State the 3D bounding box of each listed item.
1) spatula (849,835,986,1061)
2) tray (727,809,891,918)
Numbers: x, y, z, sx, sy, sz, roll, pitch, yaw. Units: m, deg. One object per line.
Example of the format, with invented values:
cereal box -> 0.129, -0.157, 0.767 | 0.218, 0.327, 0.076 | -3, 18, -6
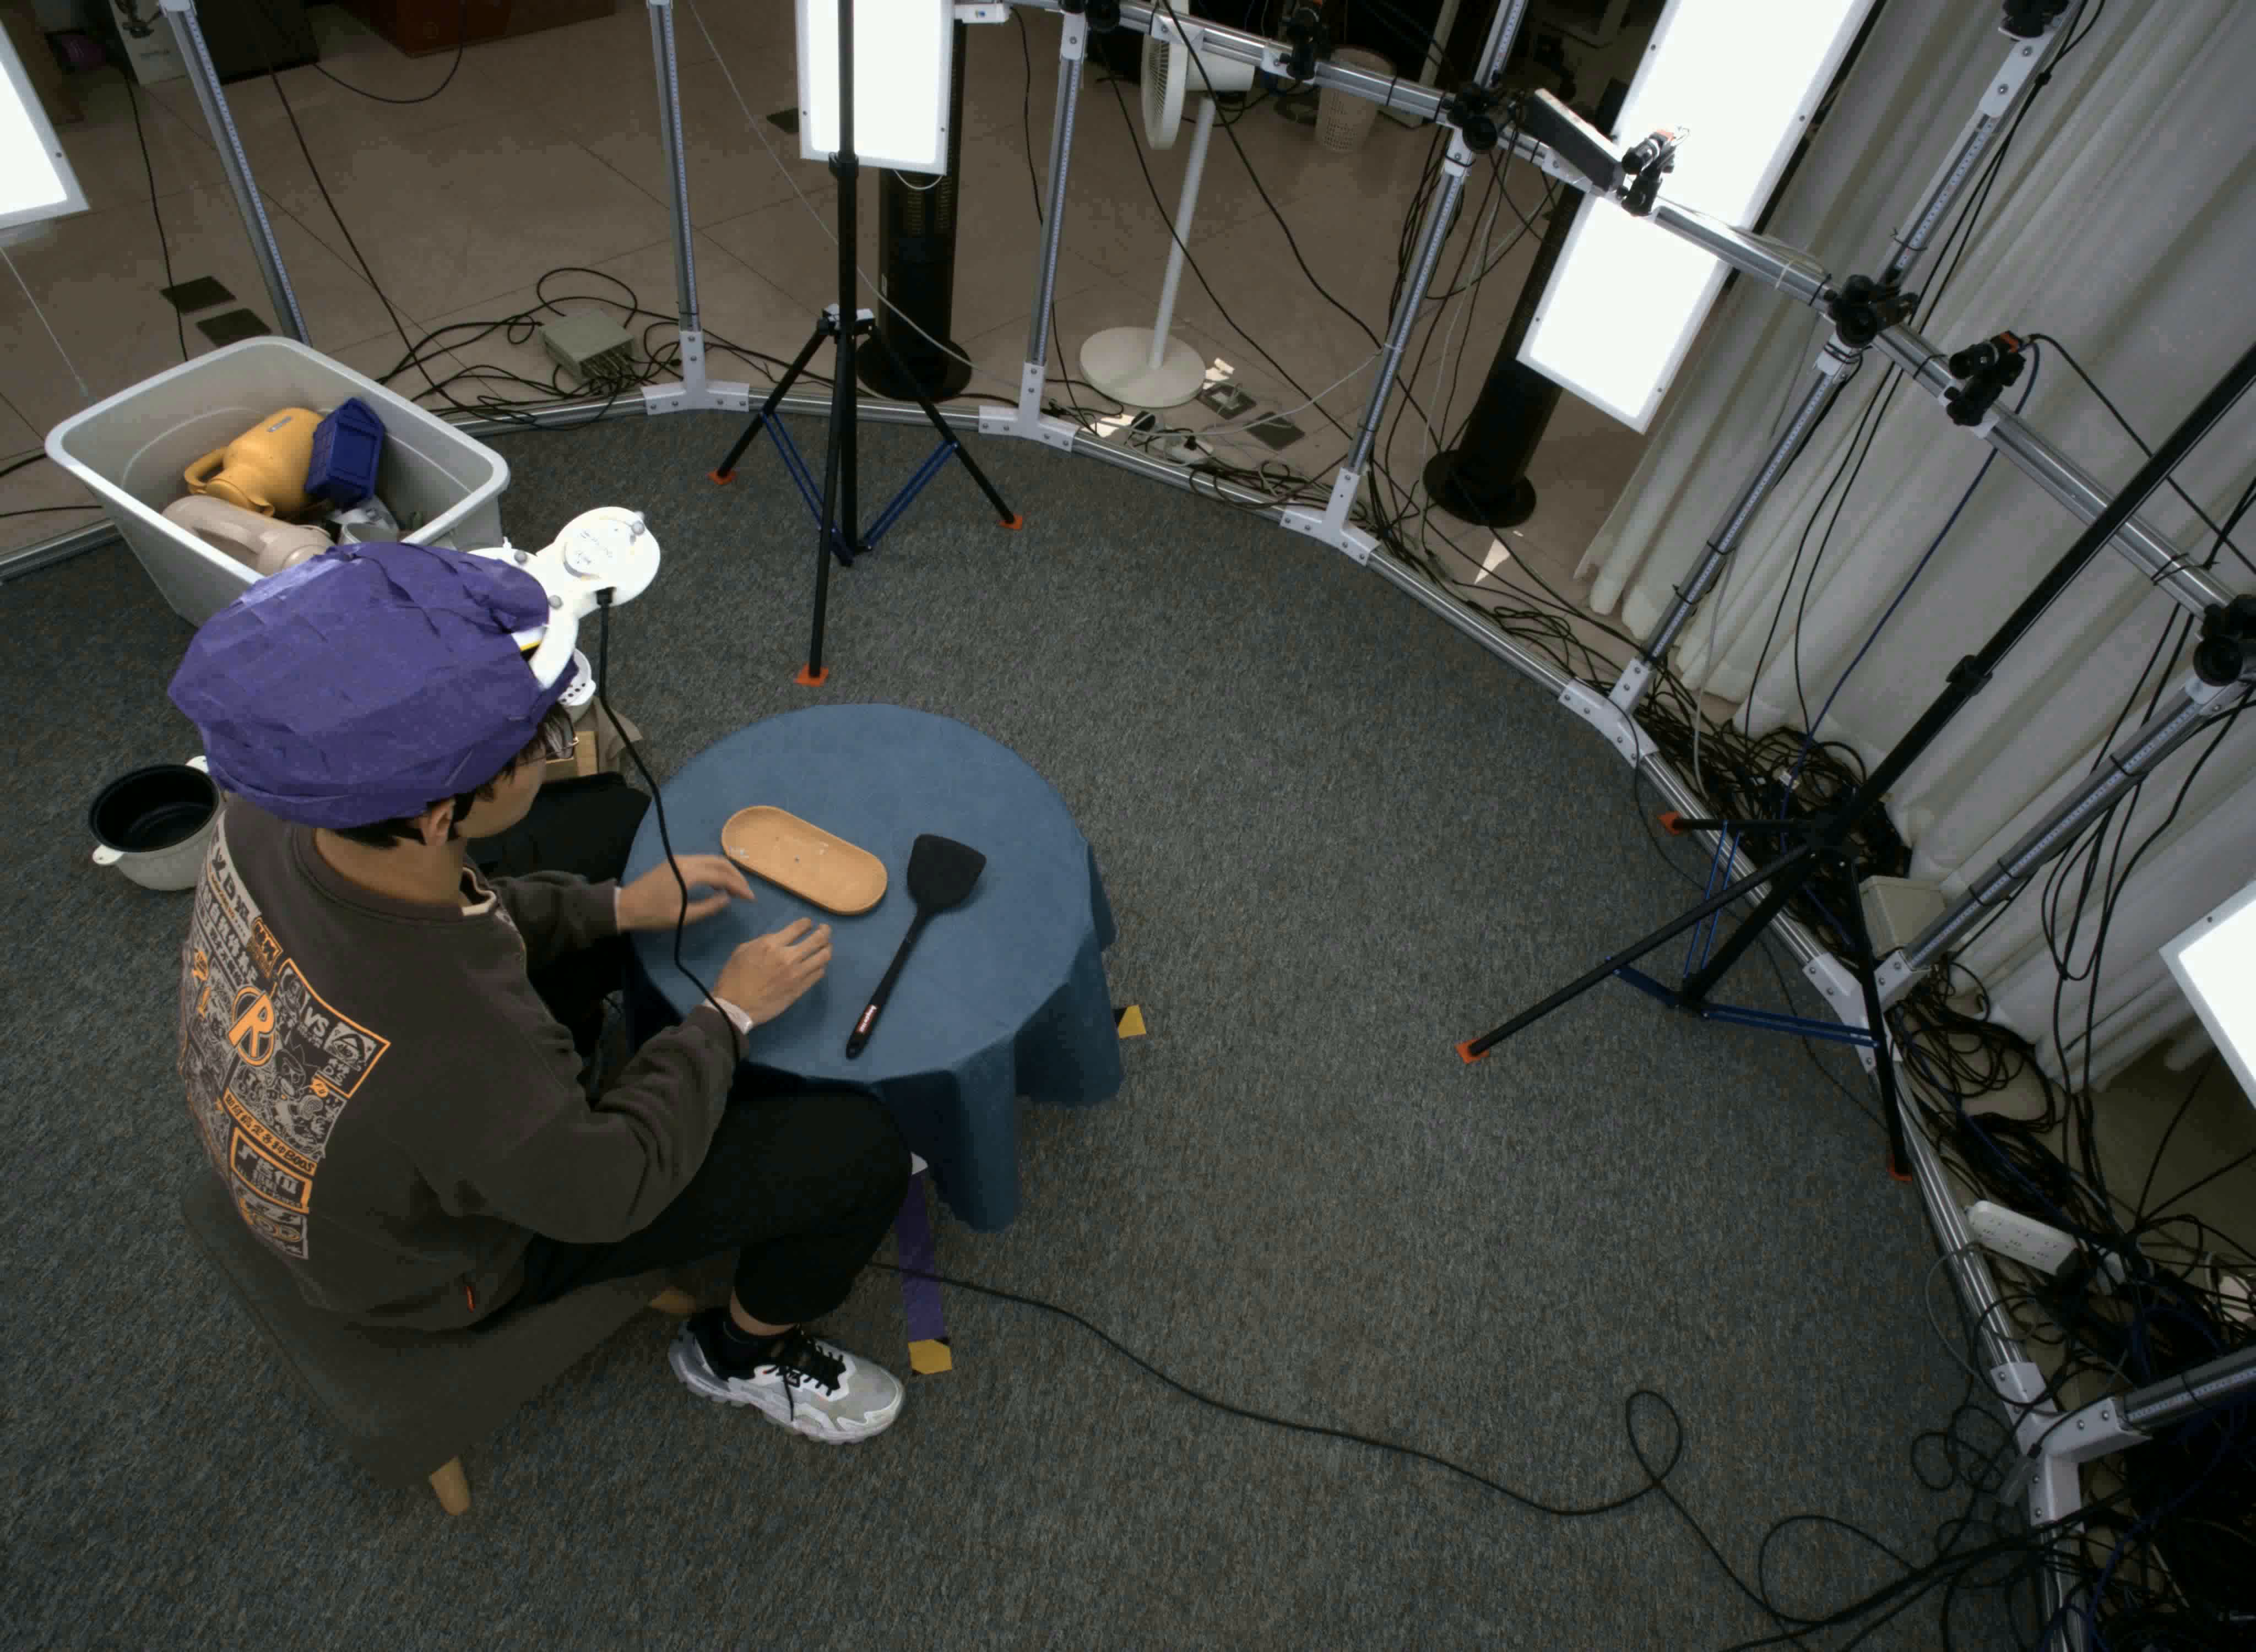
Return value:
spatula -> -0.279, 0.150, 1.640 | 0.098, 0.041, 0.323 | 20, 52, 3
tray -> -0.418, 0.047, 1.696 | 0.228, 0.021, 0.101 | 26, 53, 4
